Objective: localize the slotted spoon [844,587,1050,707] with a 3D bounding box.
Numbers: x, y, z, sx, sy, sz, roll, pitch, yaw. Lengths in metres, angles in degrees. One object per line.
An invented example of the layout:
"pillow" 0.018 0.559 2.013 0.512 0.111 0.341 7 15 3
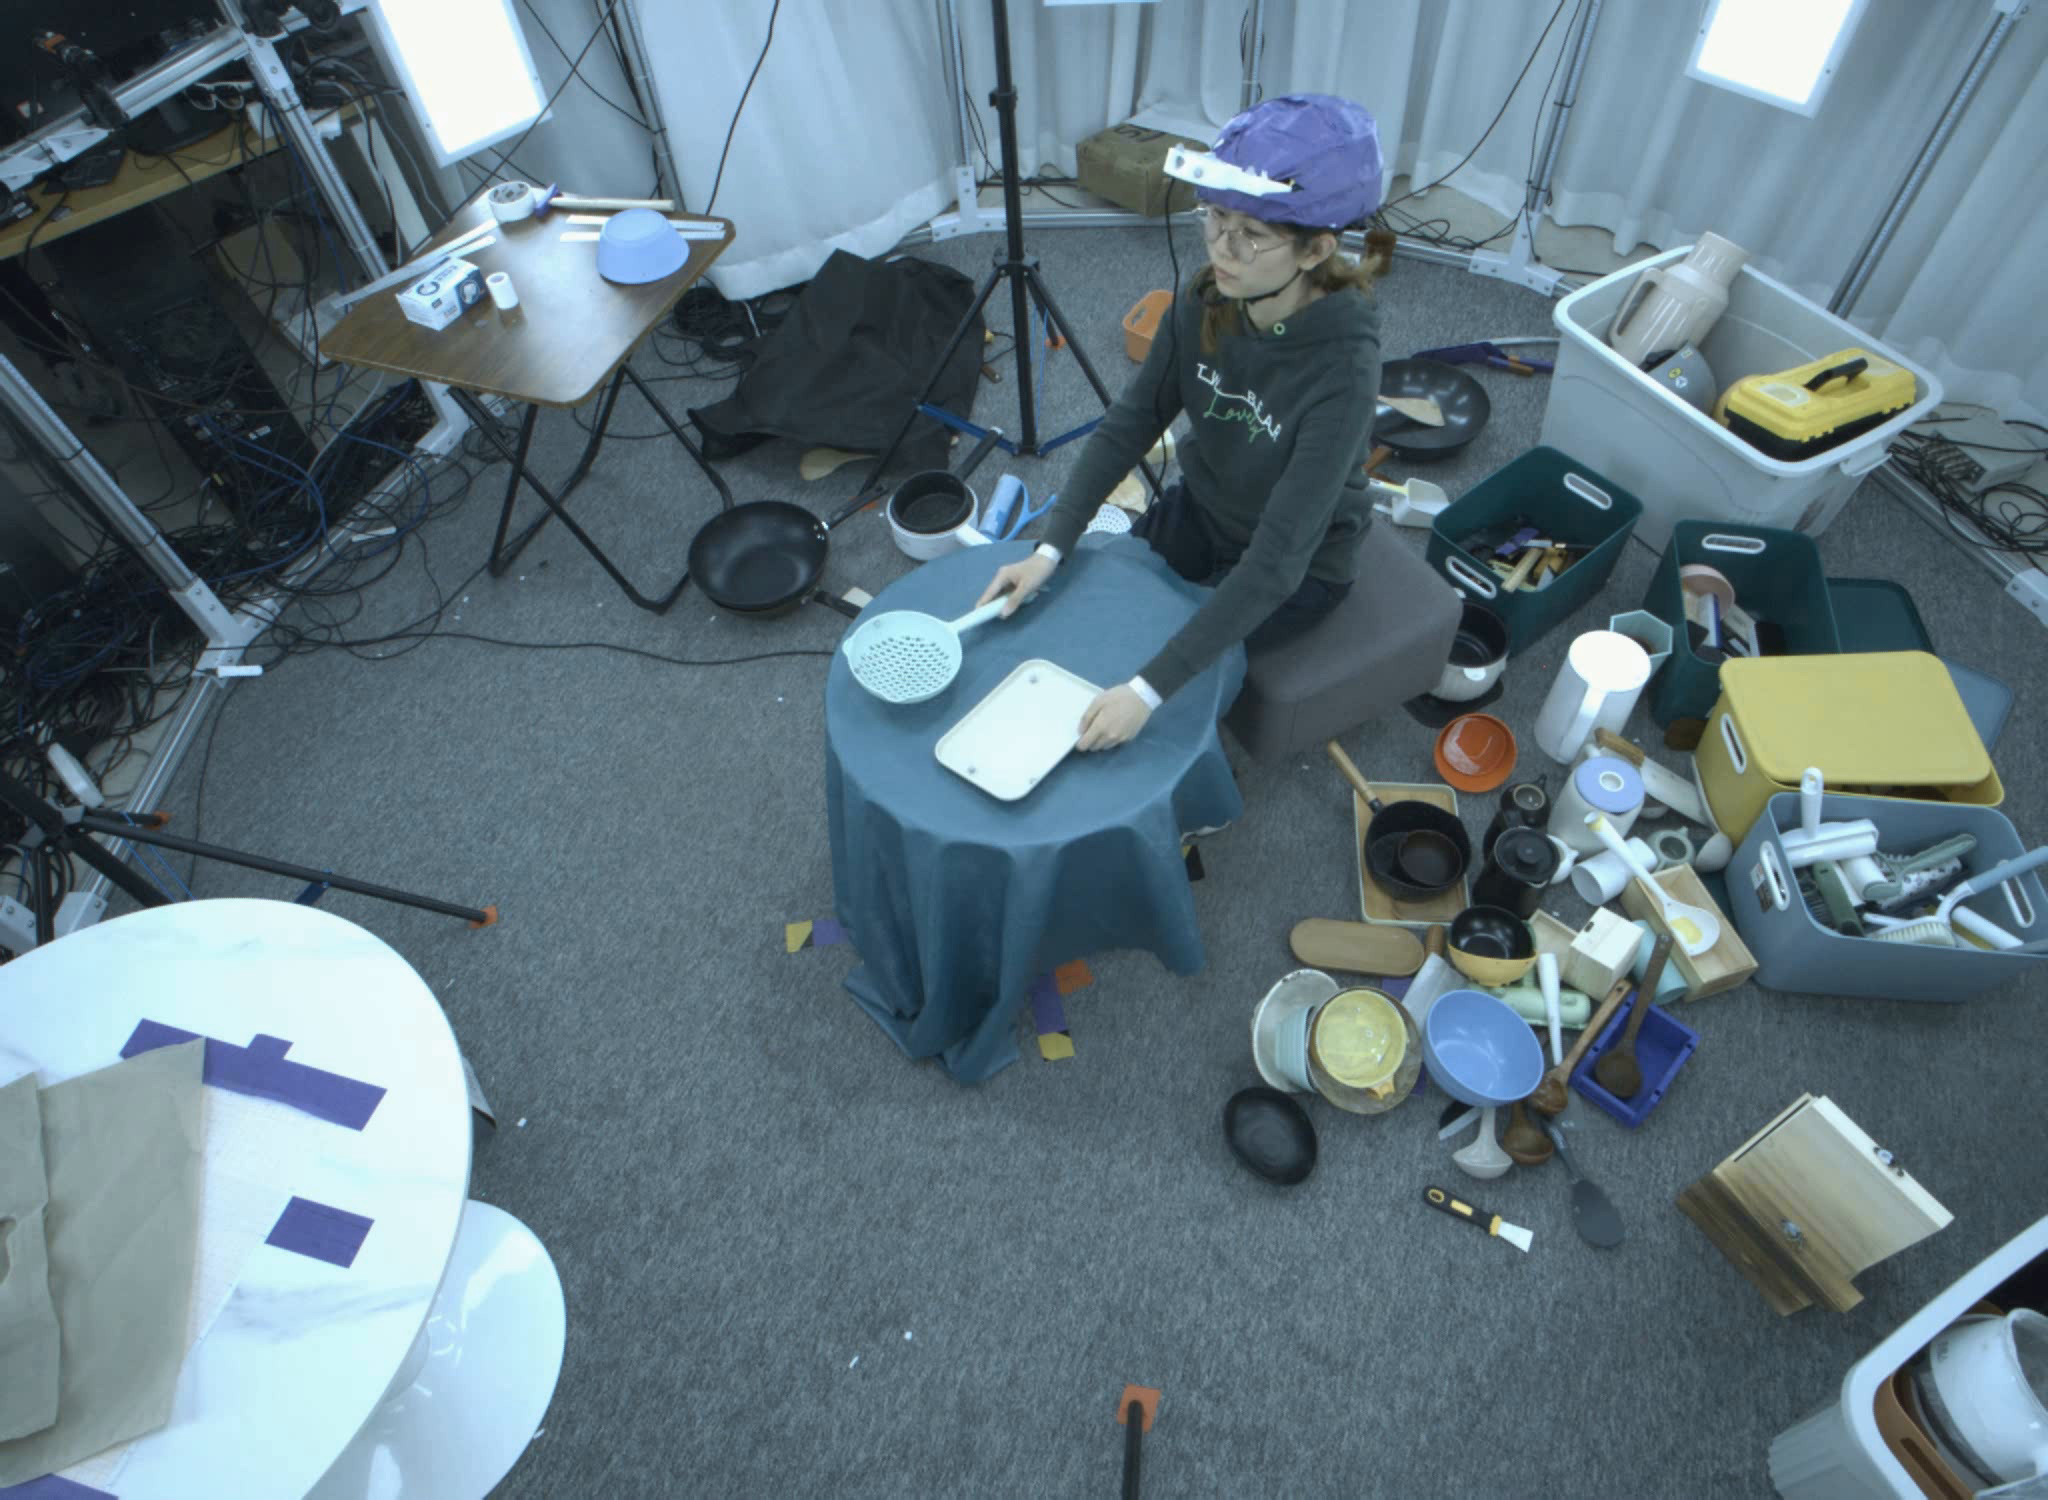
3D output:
"slotted spoon" -0.102 -0.178 1.885 0.361 0.076 0.167 -35 67 -20

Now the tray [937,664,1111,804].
"tray" 0.001 -0.025 1.796 0.168 0.018 0.241 30 60 28
